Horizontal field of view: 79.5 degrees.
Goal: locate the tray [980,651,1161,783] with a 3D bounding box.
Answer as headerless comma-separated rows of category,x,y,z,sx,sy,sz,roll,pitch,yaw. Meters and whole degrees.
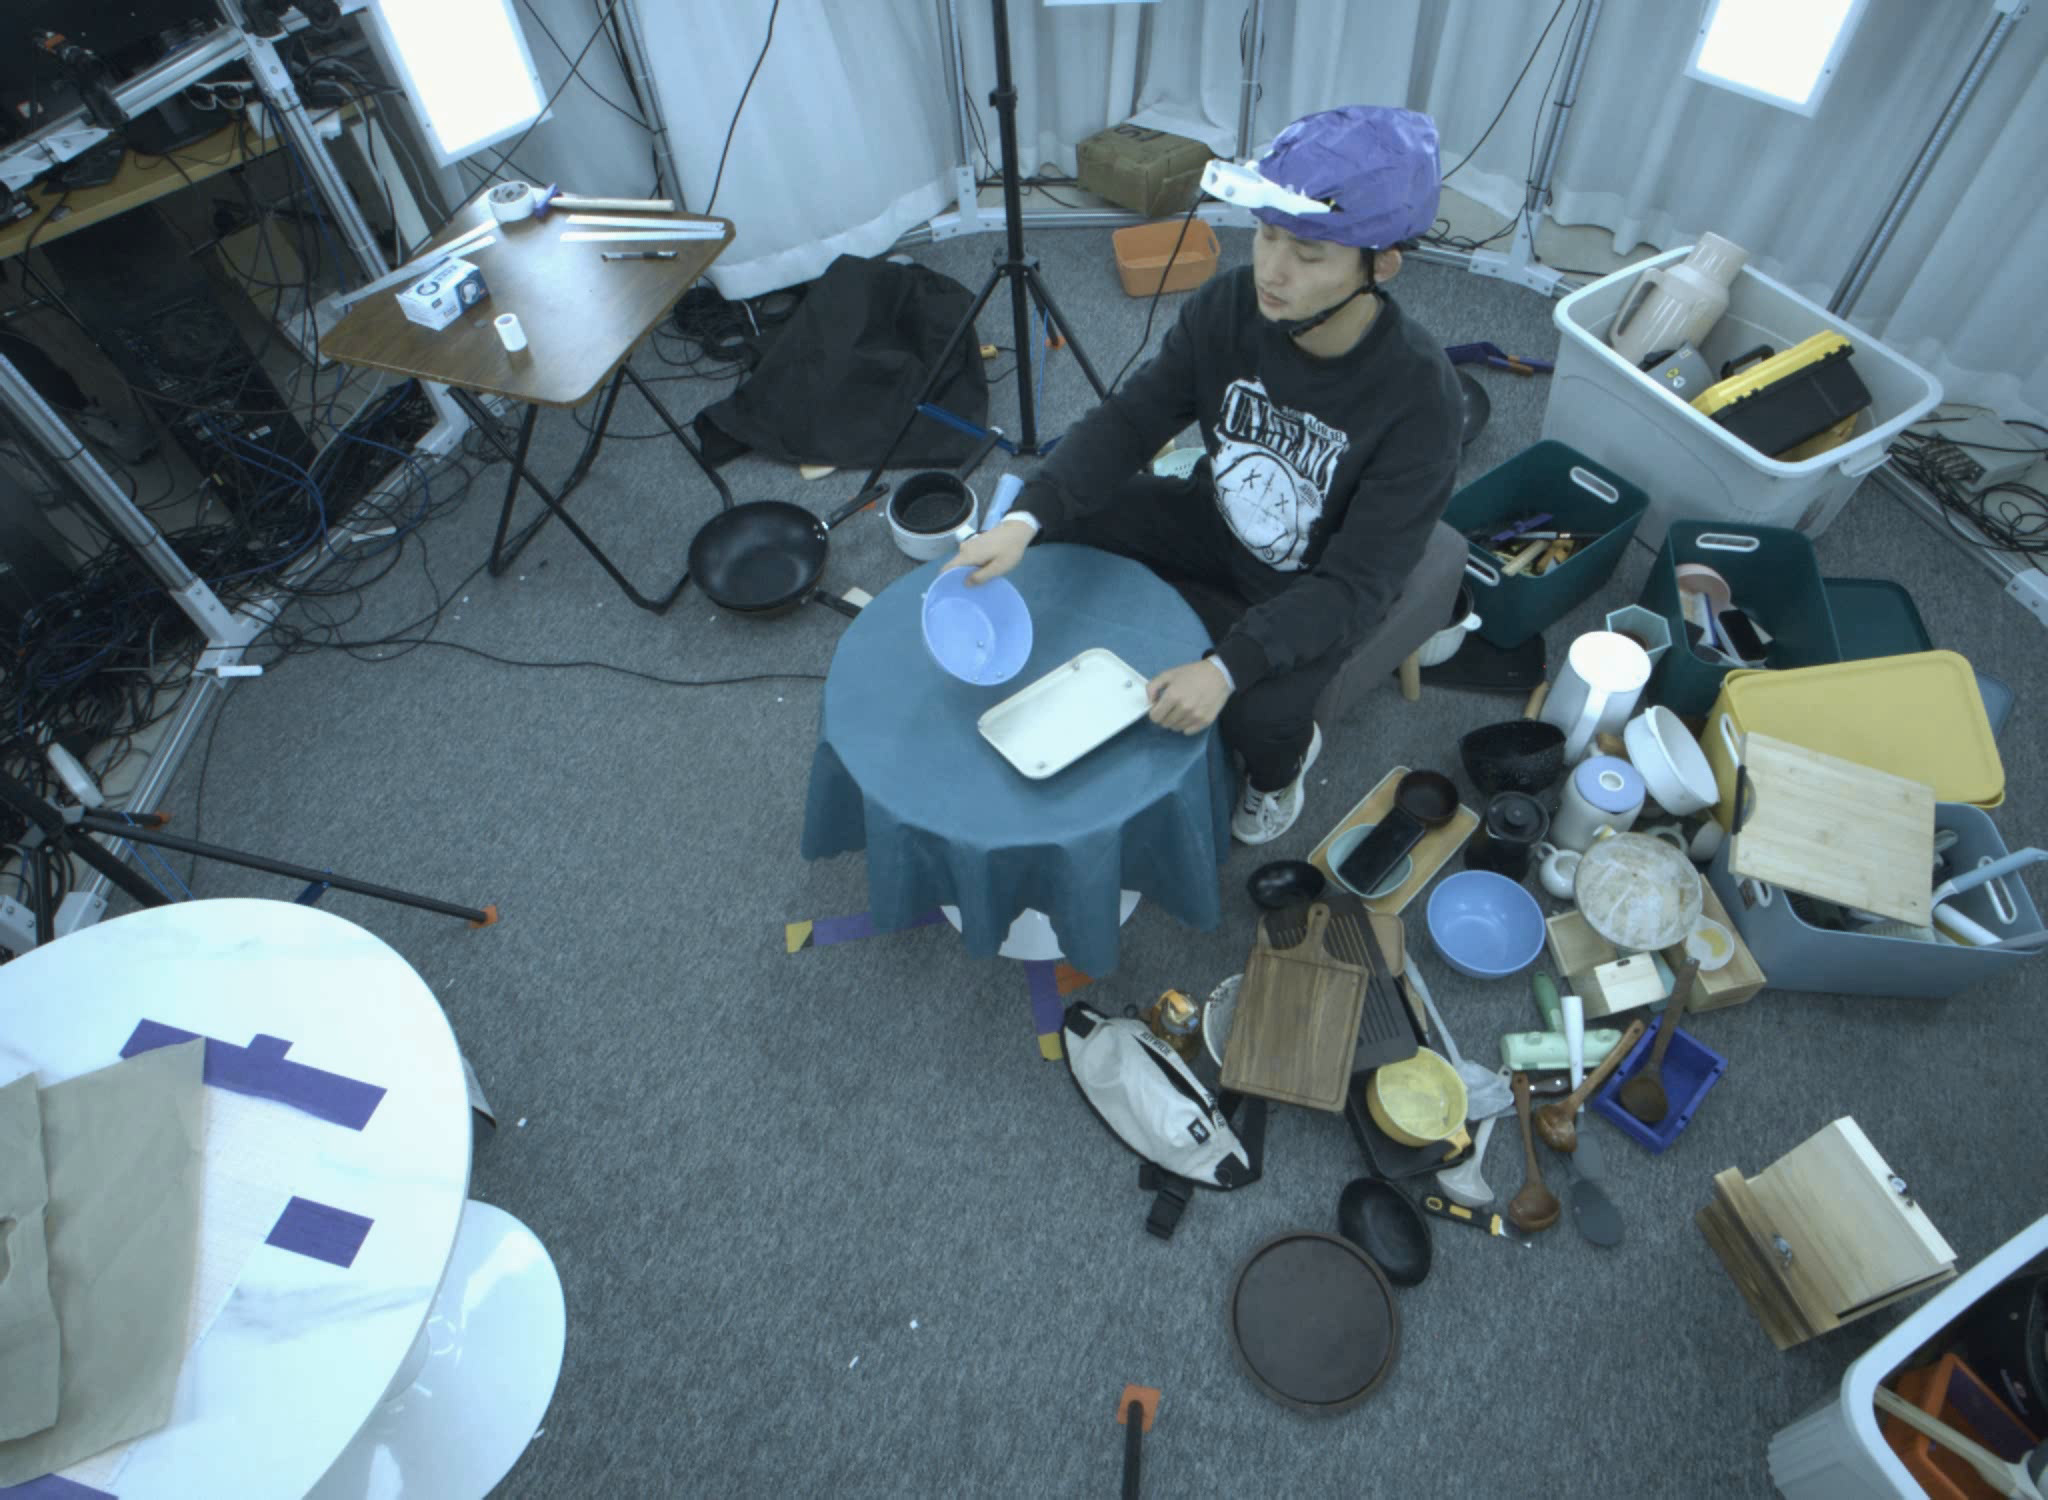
tray,0.068,-0.050,1.800,0.241,0.018,0.167,-33,50,-17

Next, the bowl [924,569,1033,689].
bowl,-0.078,-0.167,1.771,0.179,0.069,0.175,7,77,-30
